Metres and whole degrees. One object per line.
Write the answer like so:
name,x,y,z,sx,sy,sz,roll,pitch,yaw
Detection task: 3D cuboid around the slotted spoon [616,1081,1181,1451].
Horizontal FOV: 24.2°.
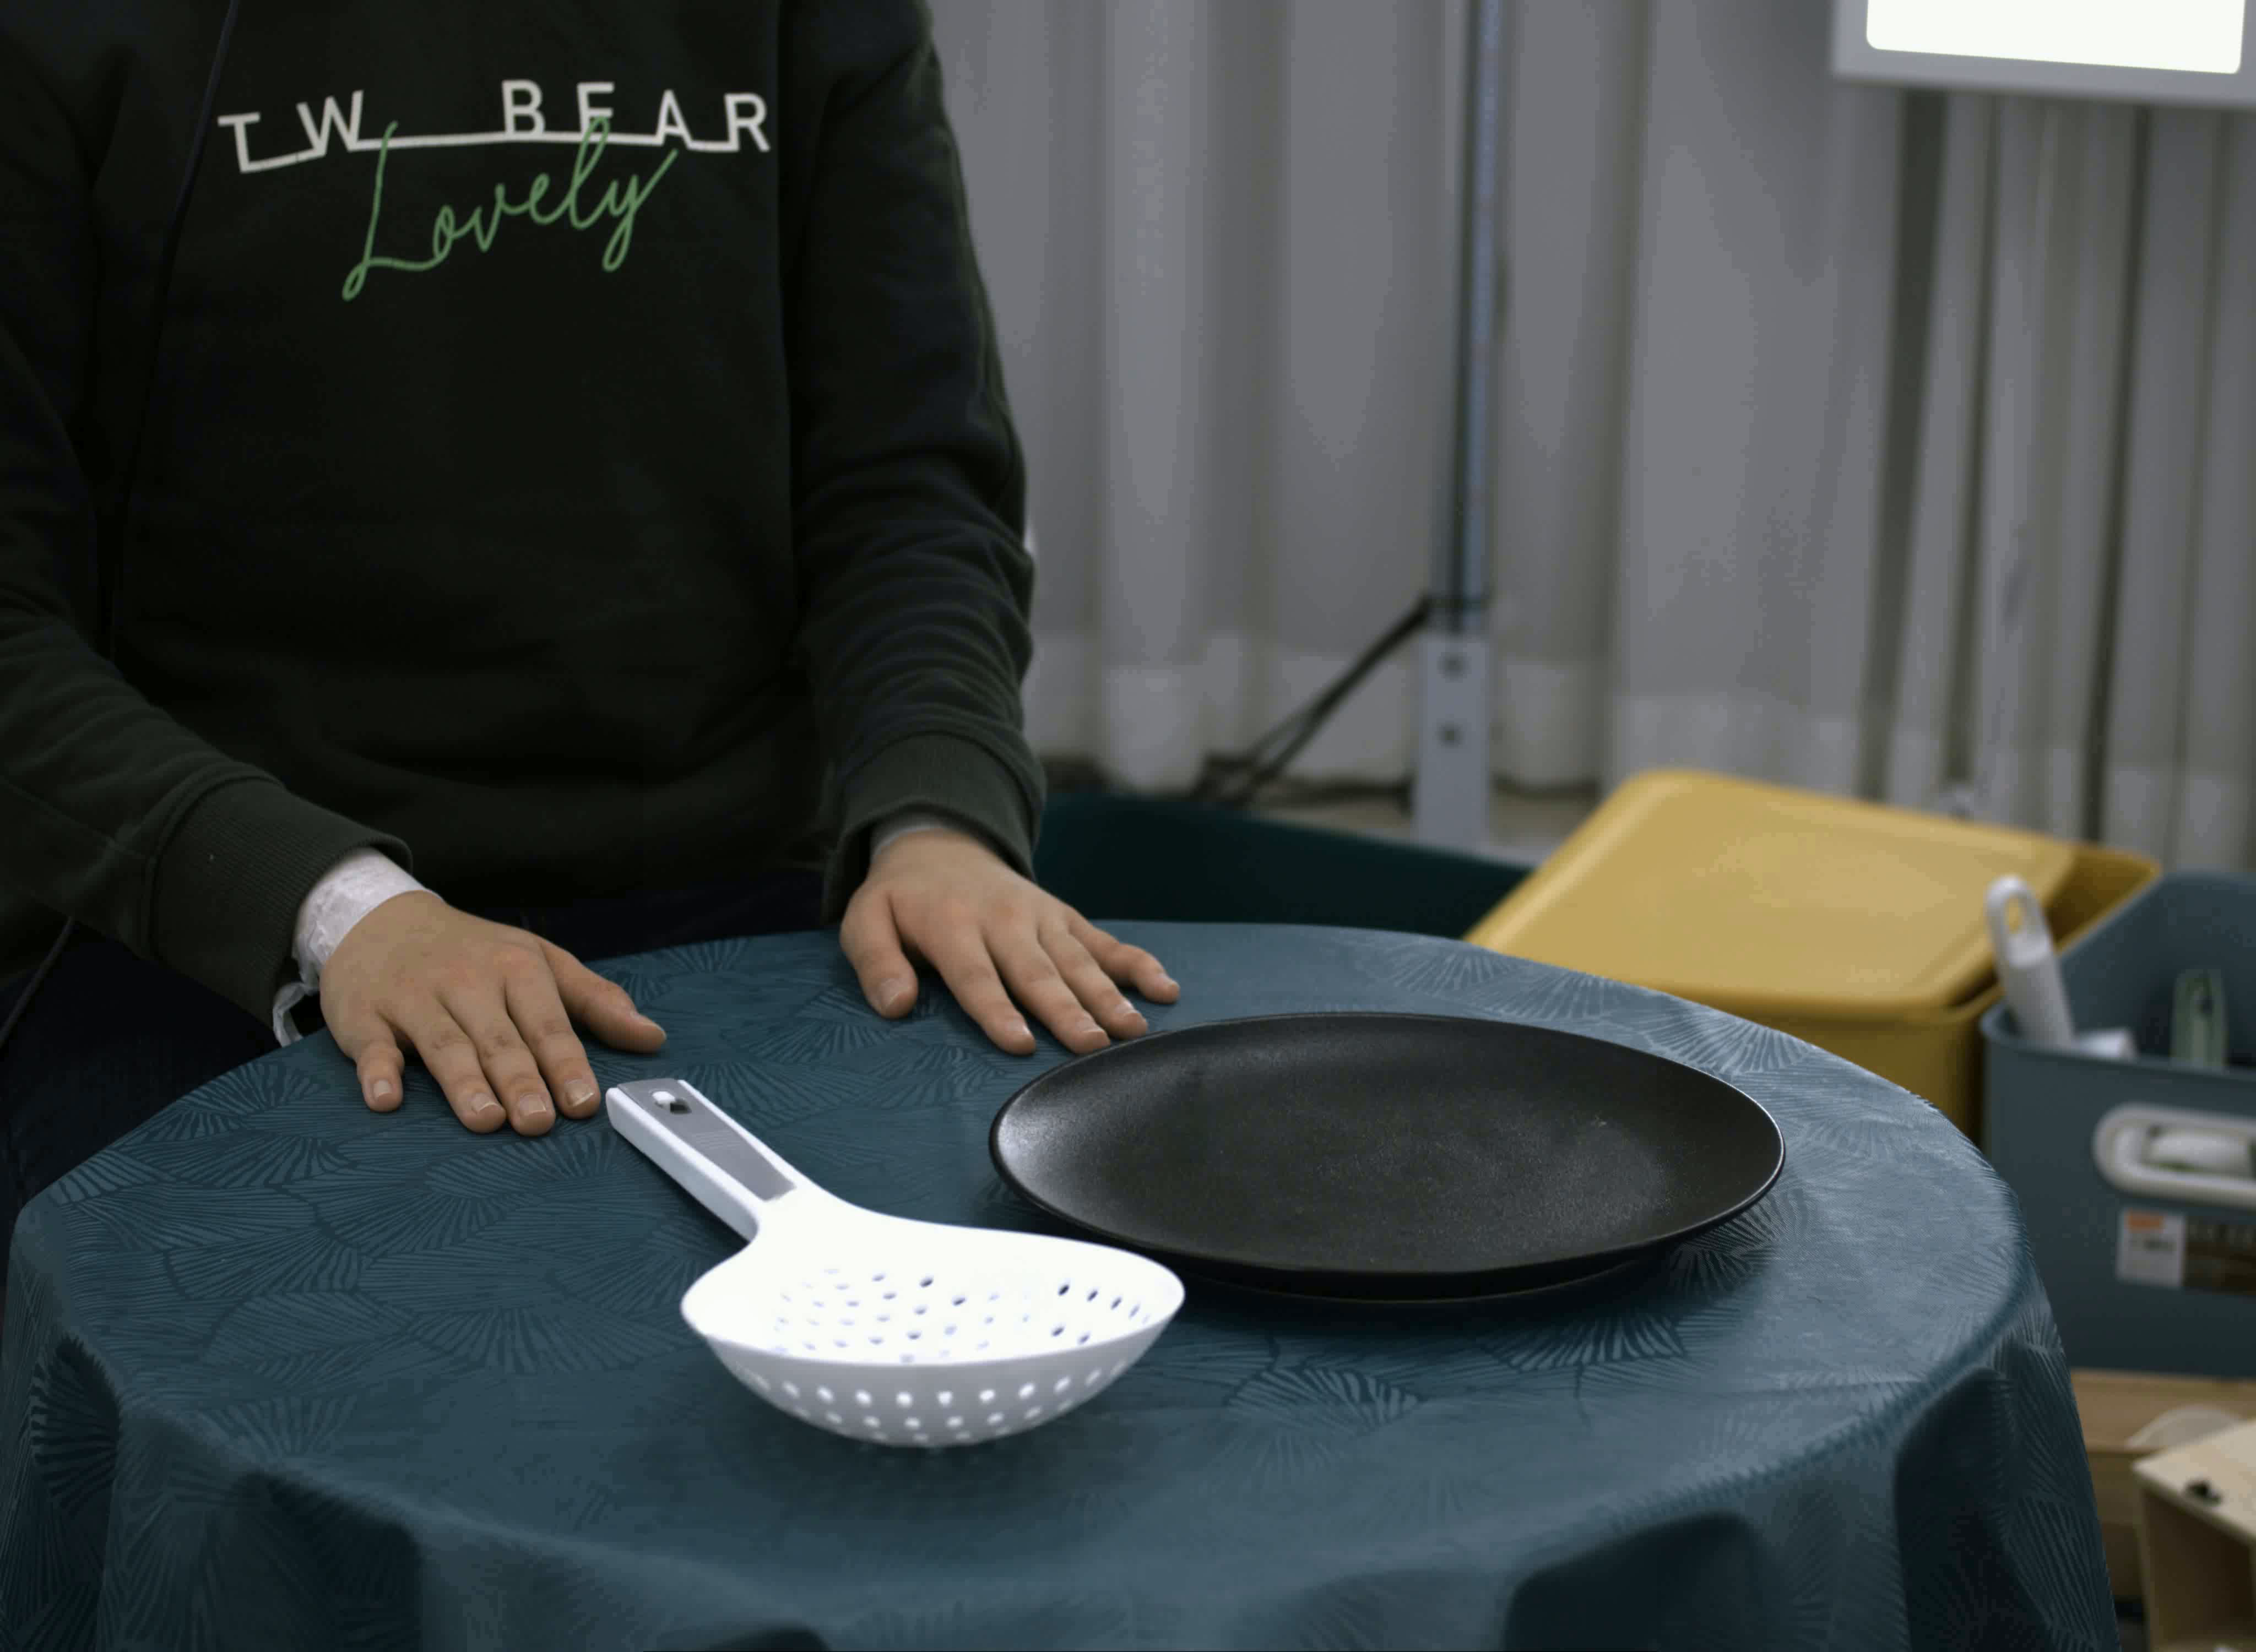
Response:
slotted spoon,-0.092,0.117,1.522,0.136,0.046,0.346,-4,15,-21

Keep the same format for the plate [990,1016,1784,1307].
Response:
plate,0.079,0.104,1.616,0.243,0.023,0.243,1,16,0
